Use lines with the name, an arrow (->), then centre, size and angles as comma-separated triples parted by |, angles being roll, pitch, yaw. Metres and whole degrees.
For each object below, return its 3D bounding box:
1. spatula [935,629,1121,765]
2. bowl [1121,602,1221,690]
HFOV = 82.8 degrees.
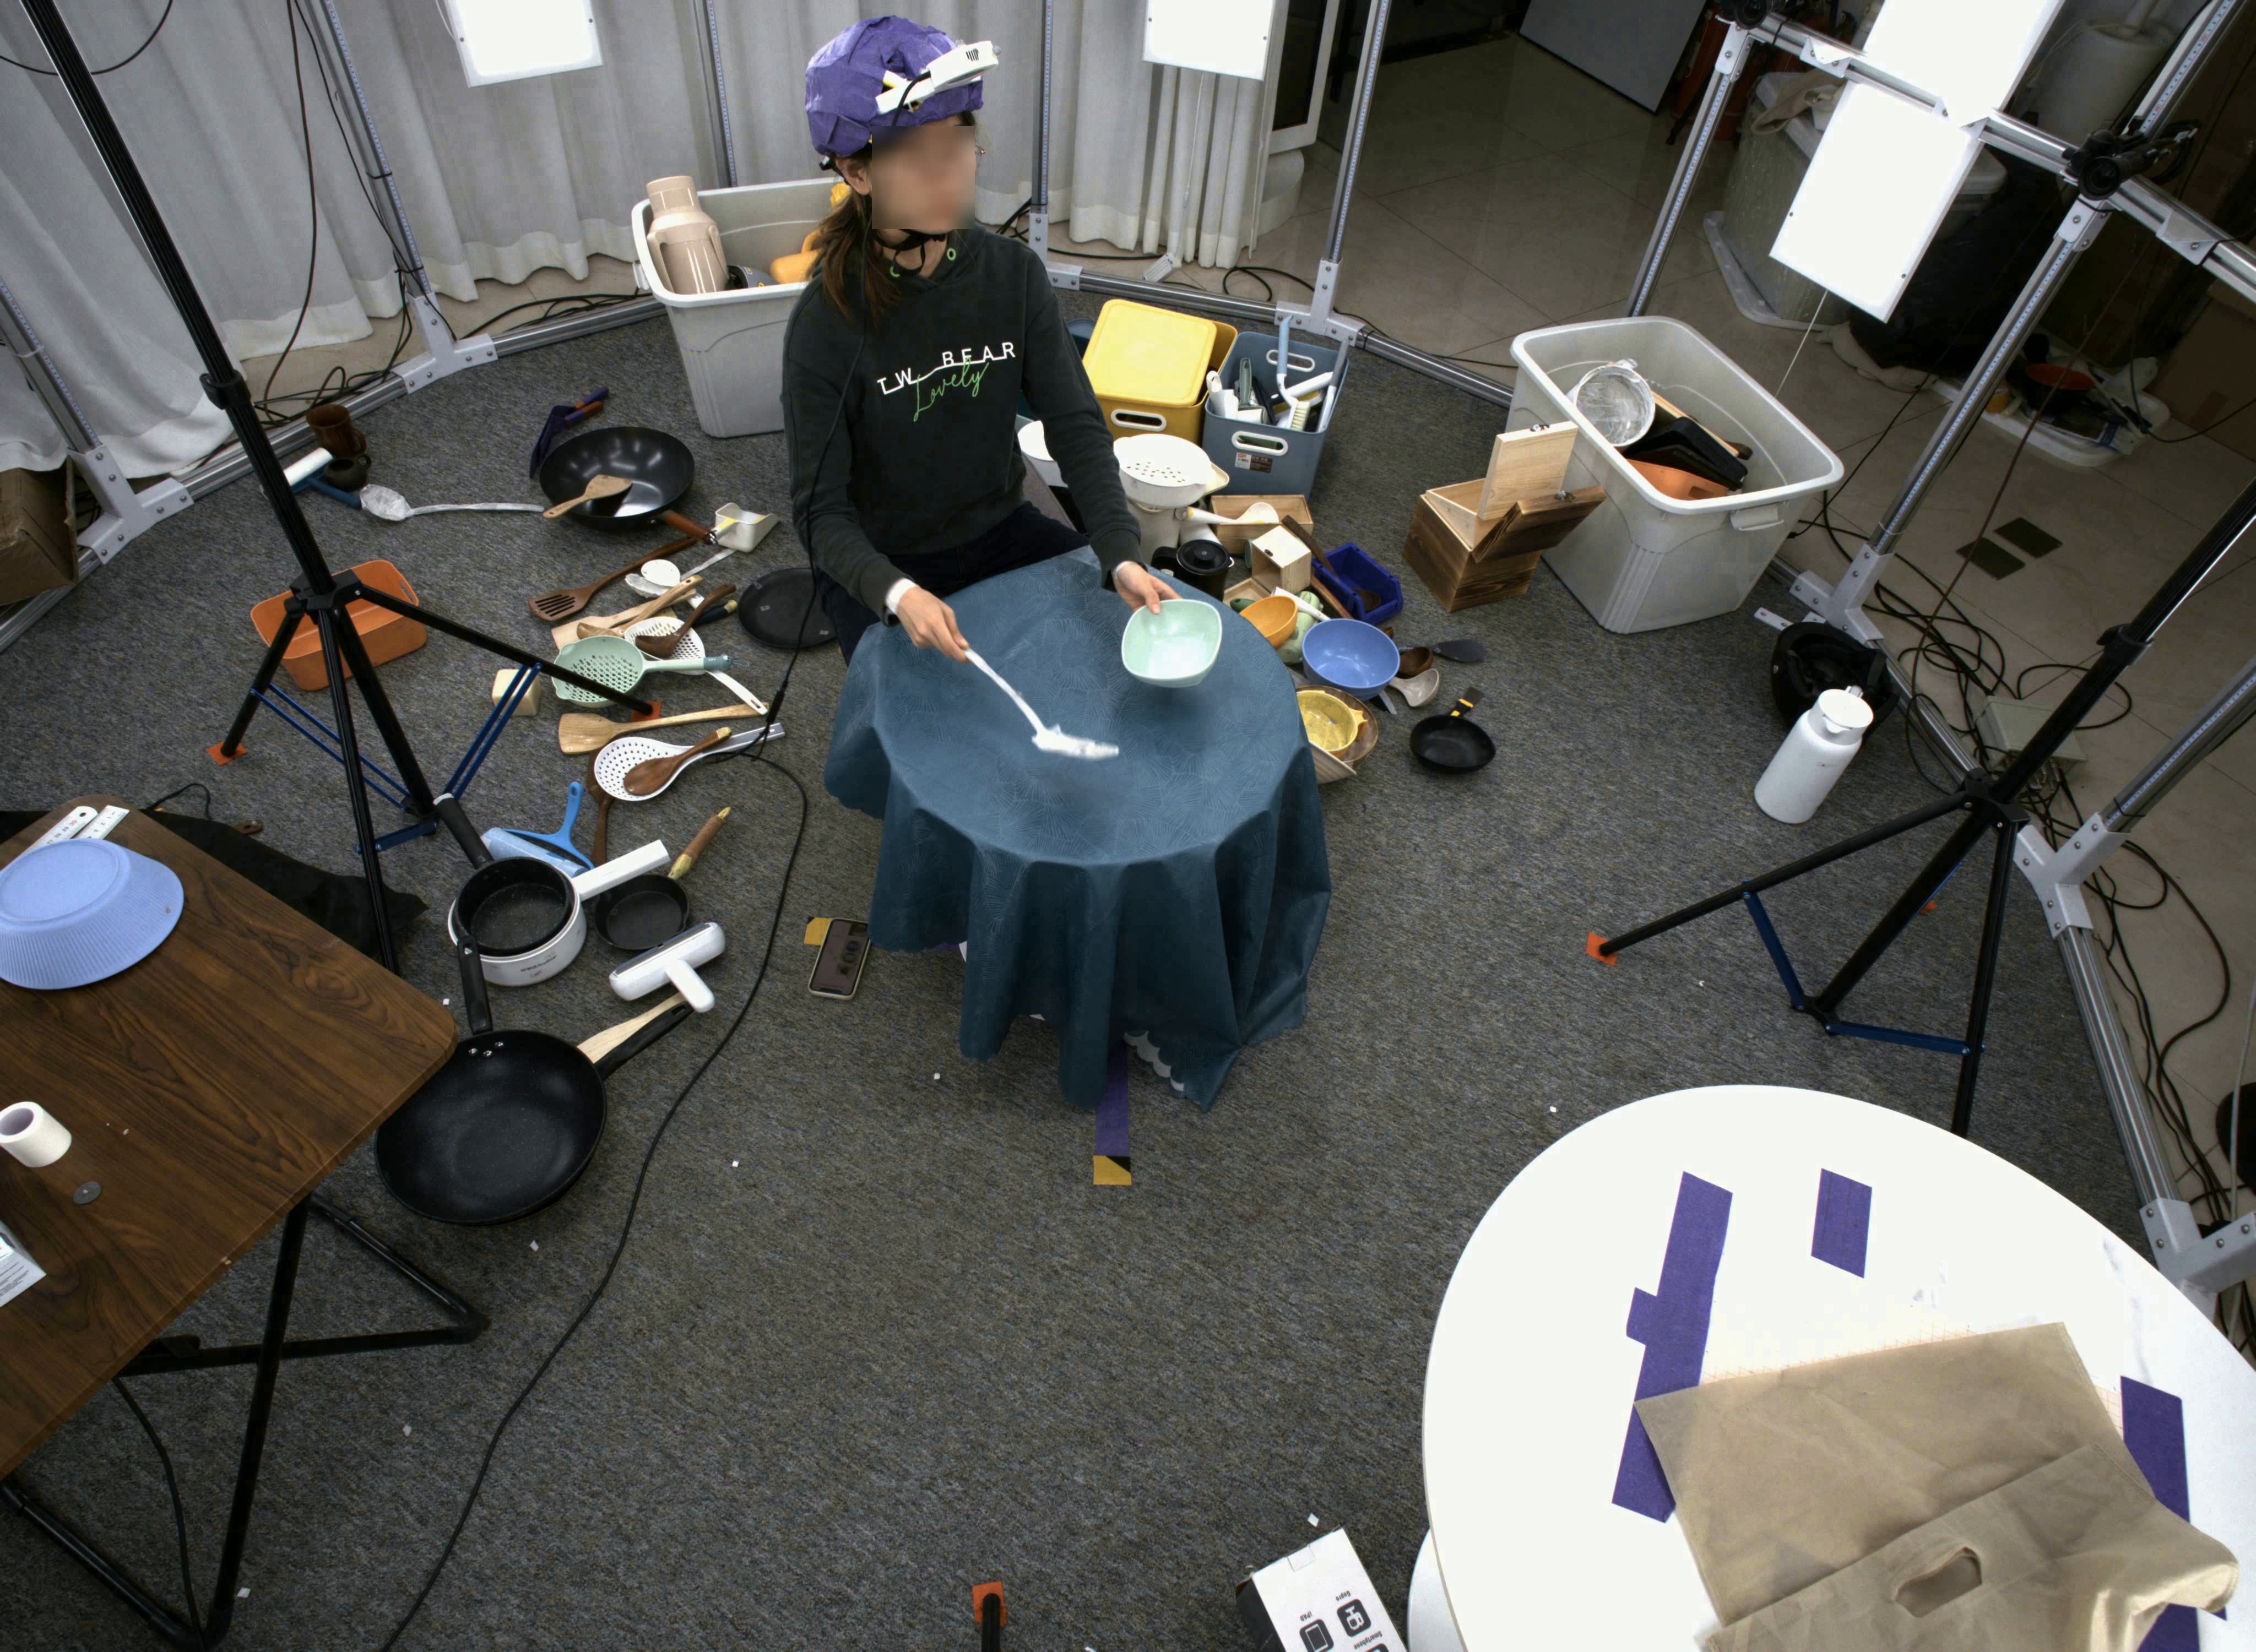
spatula -> -0.153, -0.179, 1.714 | 0.098, 0.044, 0.371 | -10, 46, -46
bowl -> 0.064, -0.242, 1.801 | 0.151, 0.057, 0.155 | -5, 58, 8
